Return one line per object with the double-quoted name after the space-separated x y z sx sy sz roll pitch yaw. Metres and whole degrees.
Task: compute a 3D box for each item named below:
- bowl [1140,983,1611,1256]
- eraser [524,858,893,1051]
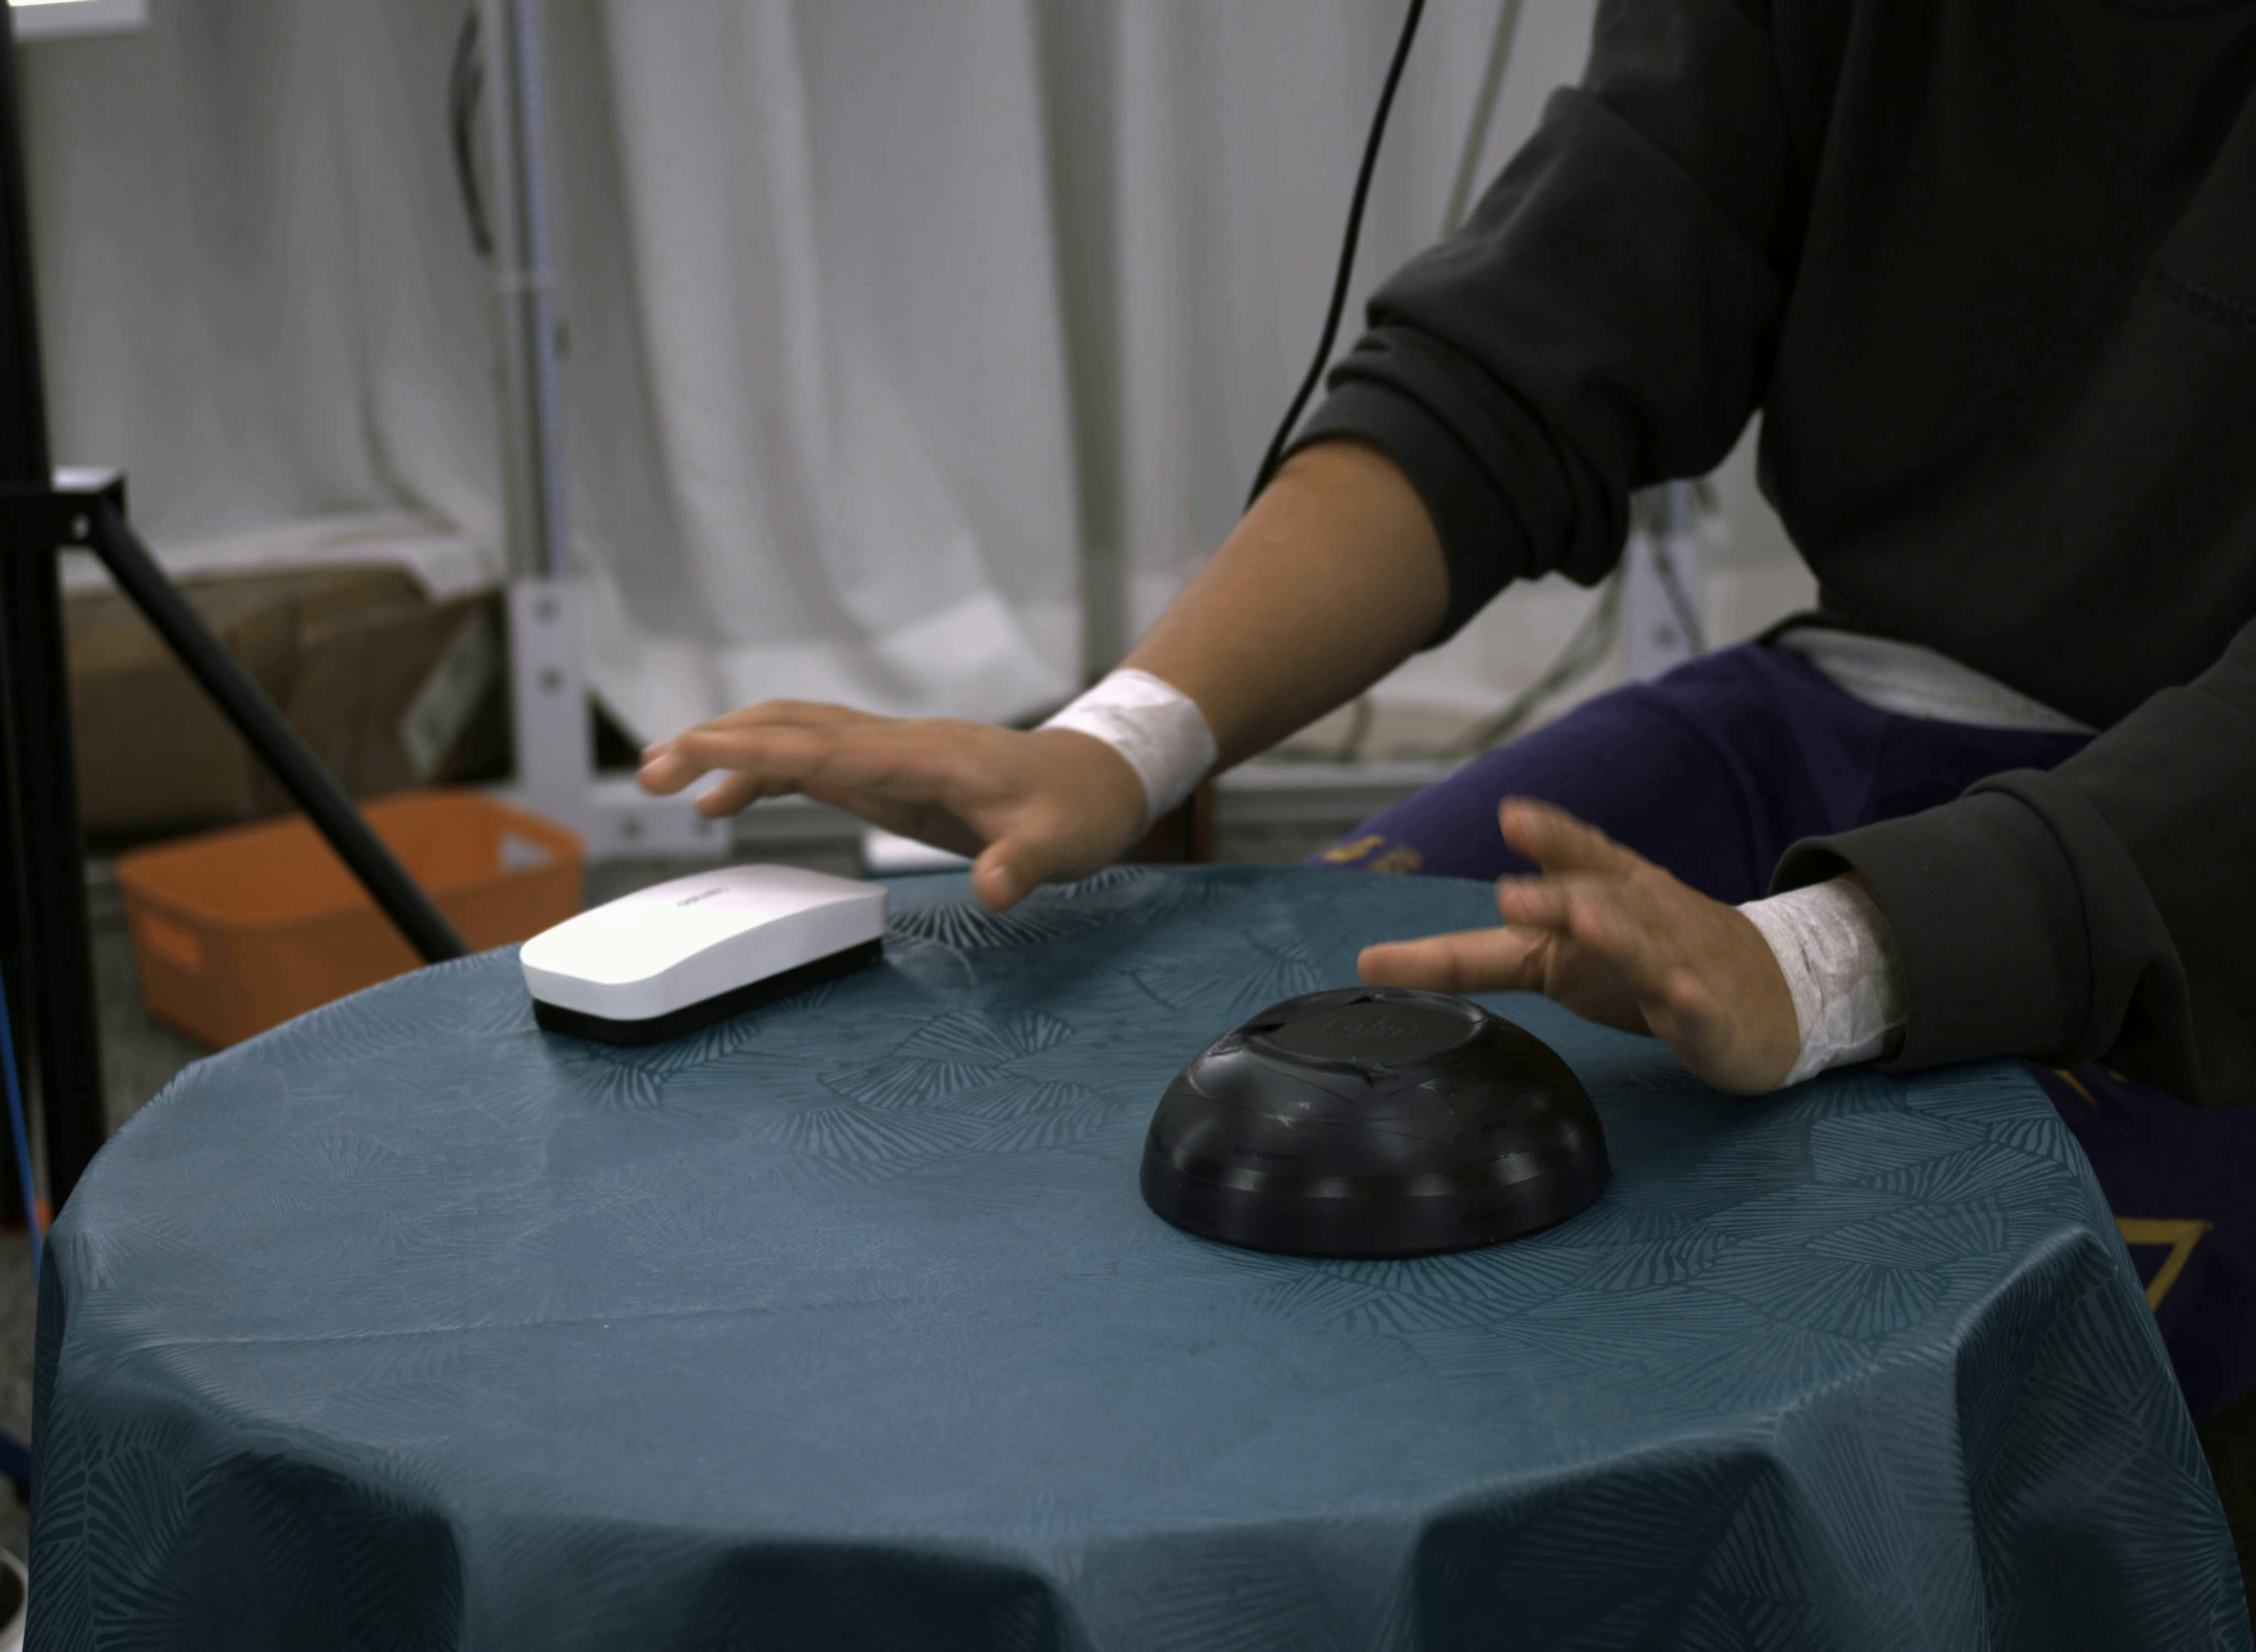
0.072 0.080 1.554 0.139 0.050 0.141 -4 16 0 "bowl"
-0.137 0.039 1.768 0.065 0.034 0.128 13 23 41 "eraser"
